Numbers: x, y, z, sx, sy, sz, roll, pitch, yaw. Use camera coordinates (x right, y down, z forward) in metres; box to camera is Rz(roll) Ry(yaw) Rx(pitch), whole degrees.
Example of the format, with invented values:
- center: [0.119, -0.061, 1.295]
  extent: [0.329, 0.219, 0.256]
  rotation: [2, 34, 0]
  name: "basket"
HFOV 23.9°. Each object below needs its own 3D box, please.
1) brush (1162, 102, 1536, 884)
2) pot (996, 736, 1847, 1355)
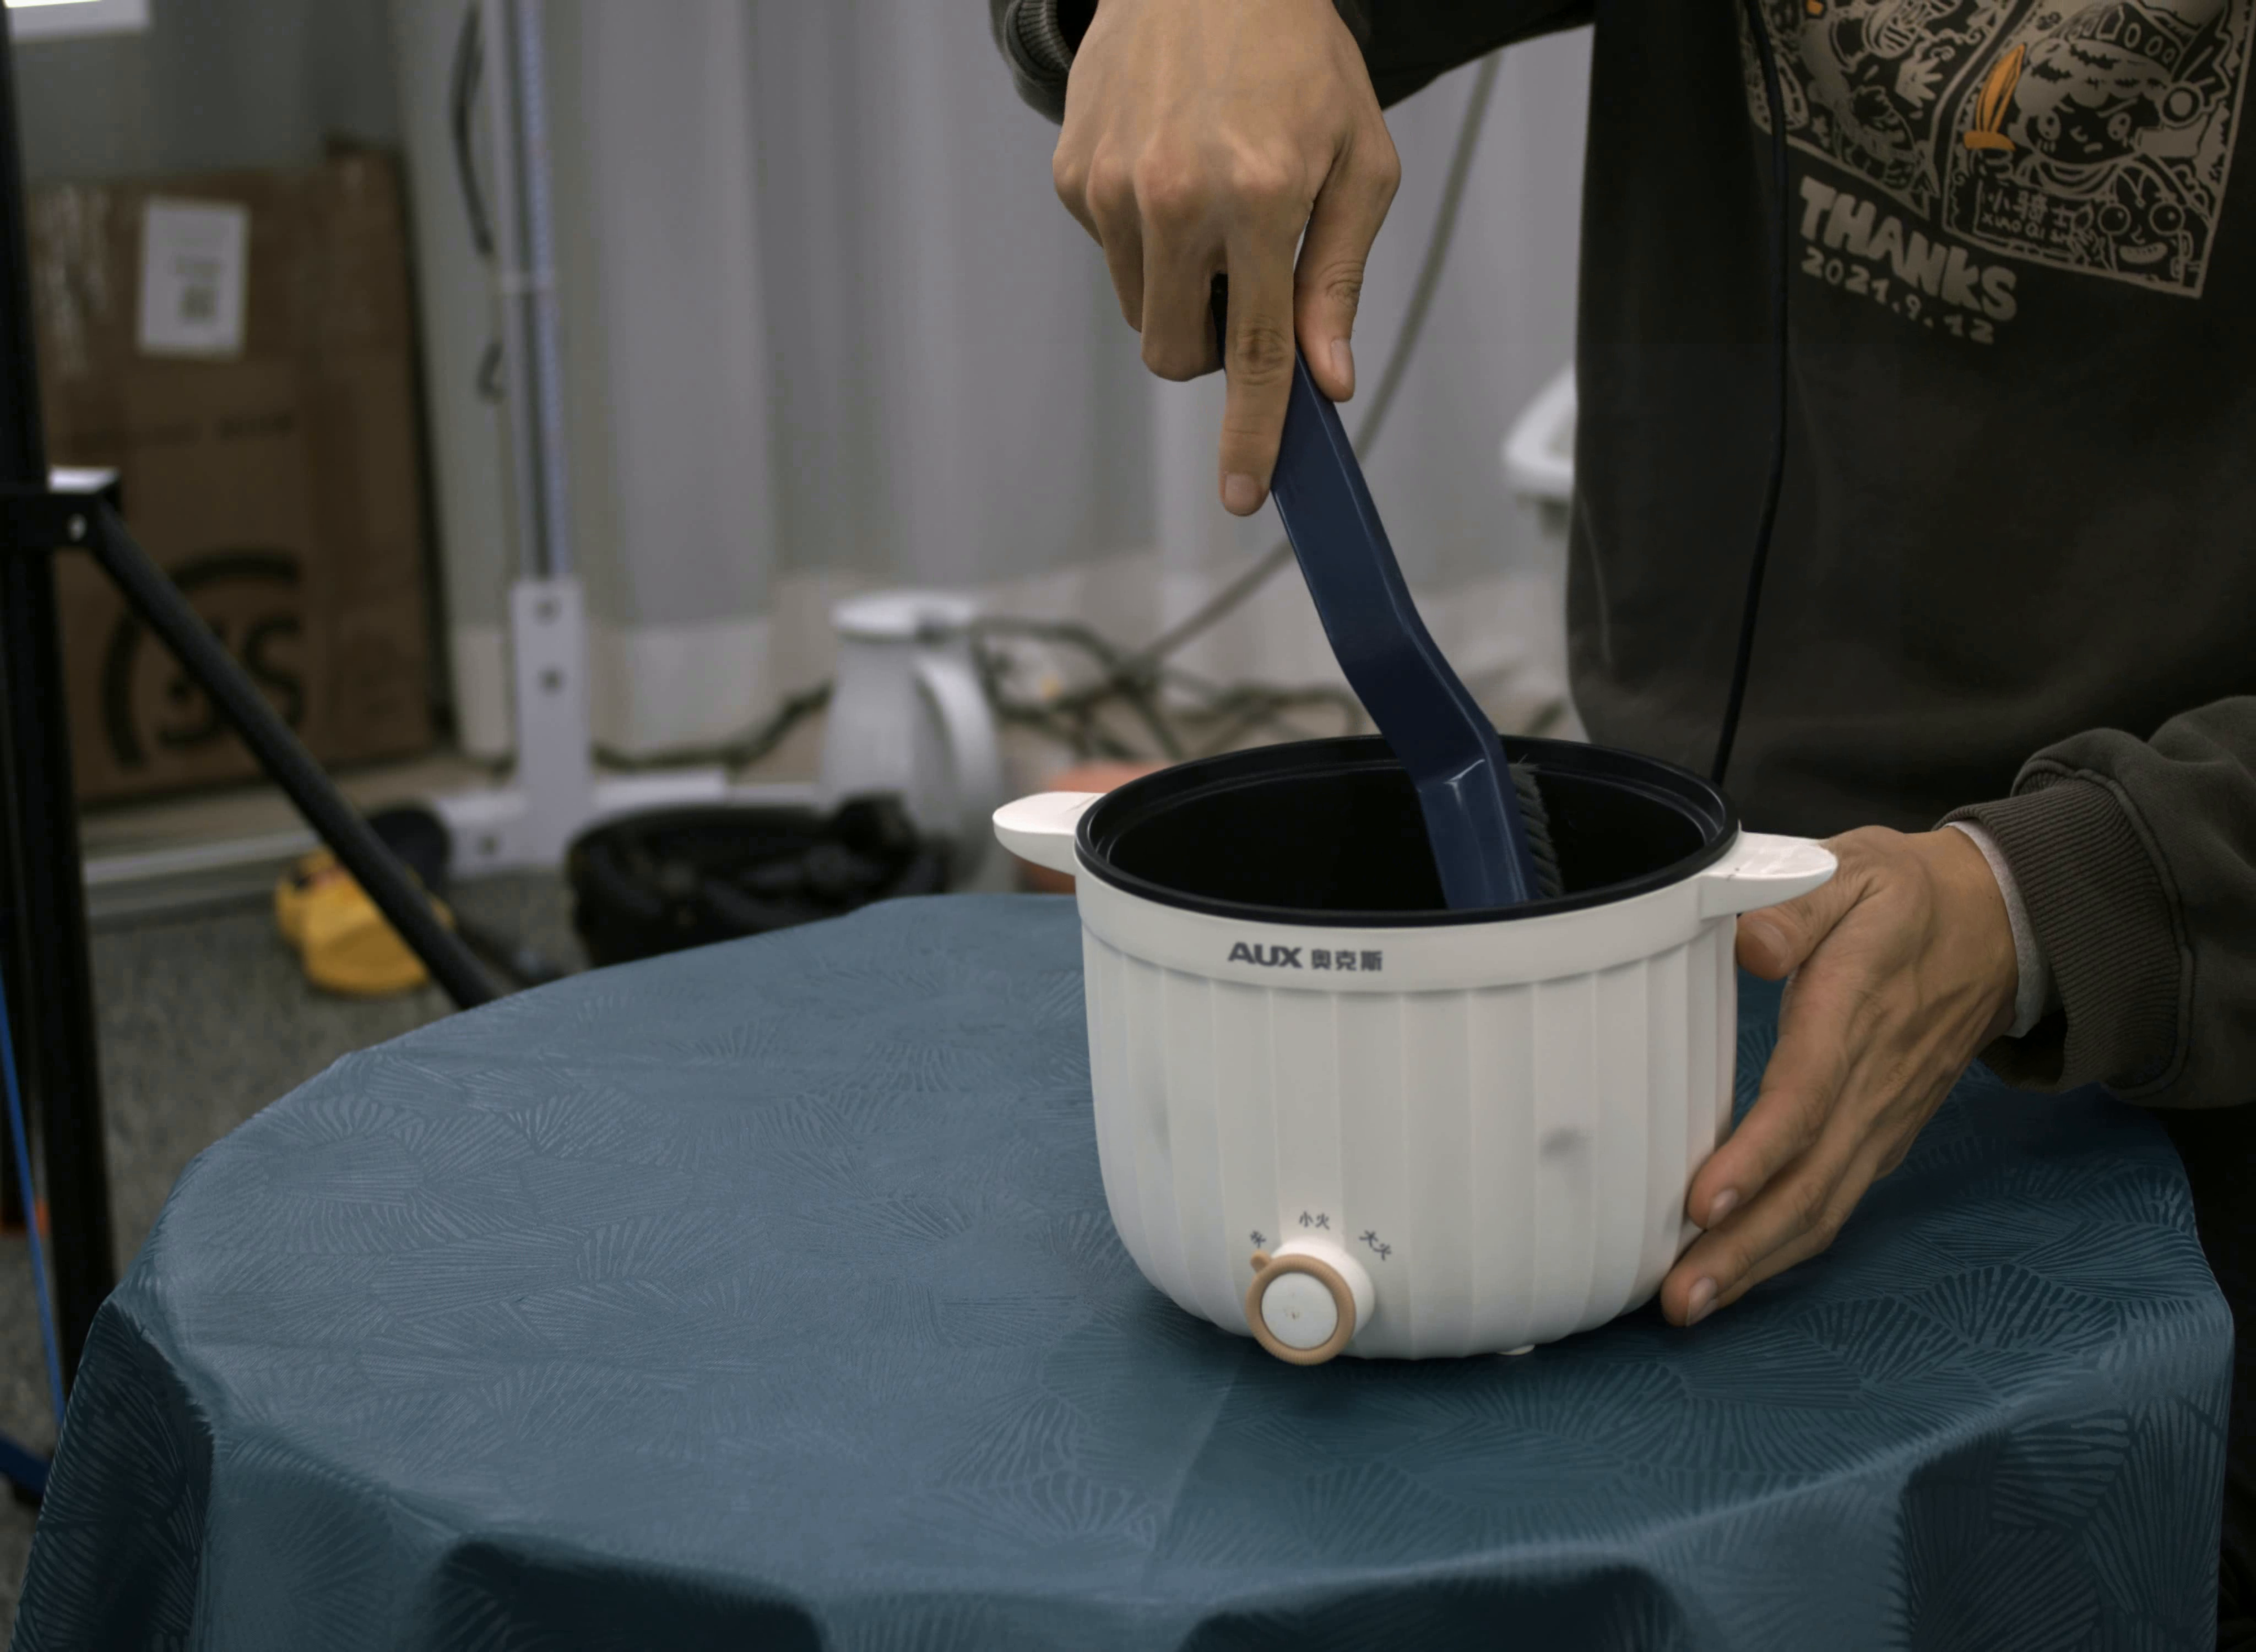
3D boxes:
- center: [0.061, -0.069, 1.477]
  extent: [0.034, 0.275, 0.094]
  rotation: [-26, -7, 29]
  name: "brush"
- center: [0.078, 0.063, 1.452]
  extent: [0.243, 0.143, 0.188]
  rotation: [2, 12, 22]
  name: "pot"
